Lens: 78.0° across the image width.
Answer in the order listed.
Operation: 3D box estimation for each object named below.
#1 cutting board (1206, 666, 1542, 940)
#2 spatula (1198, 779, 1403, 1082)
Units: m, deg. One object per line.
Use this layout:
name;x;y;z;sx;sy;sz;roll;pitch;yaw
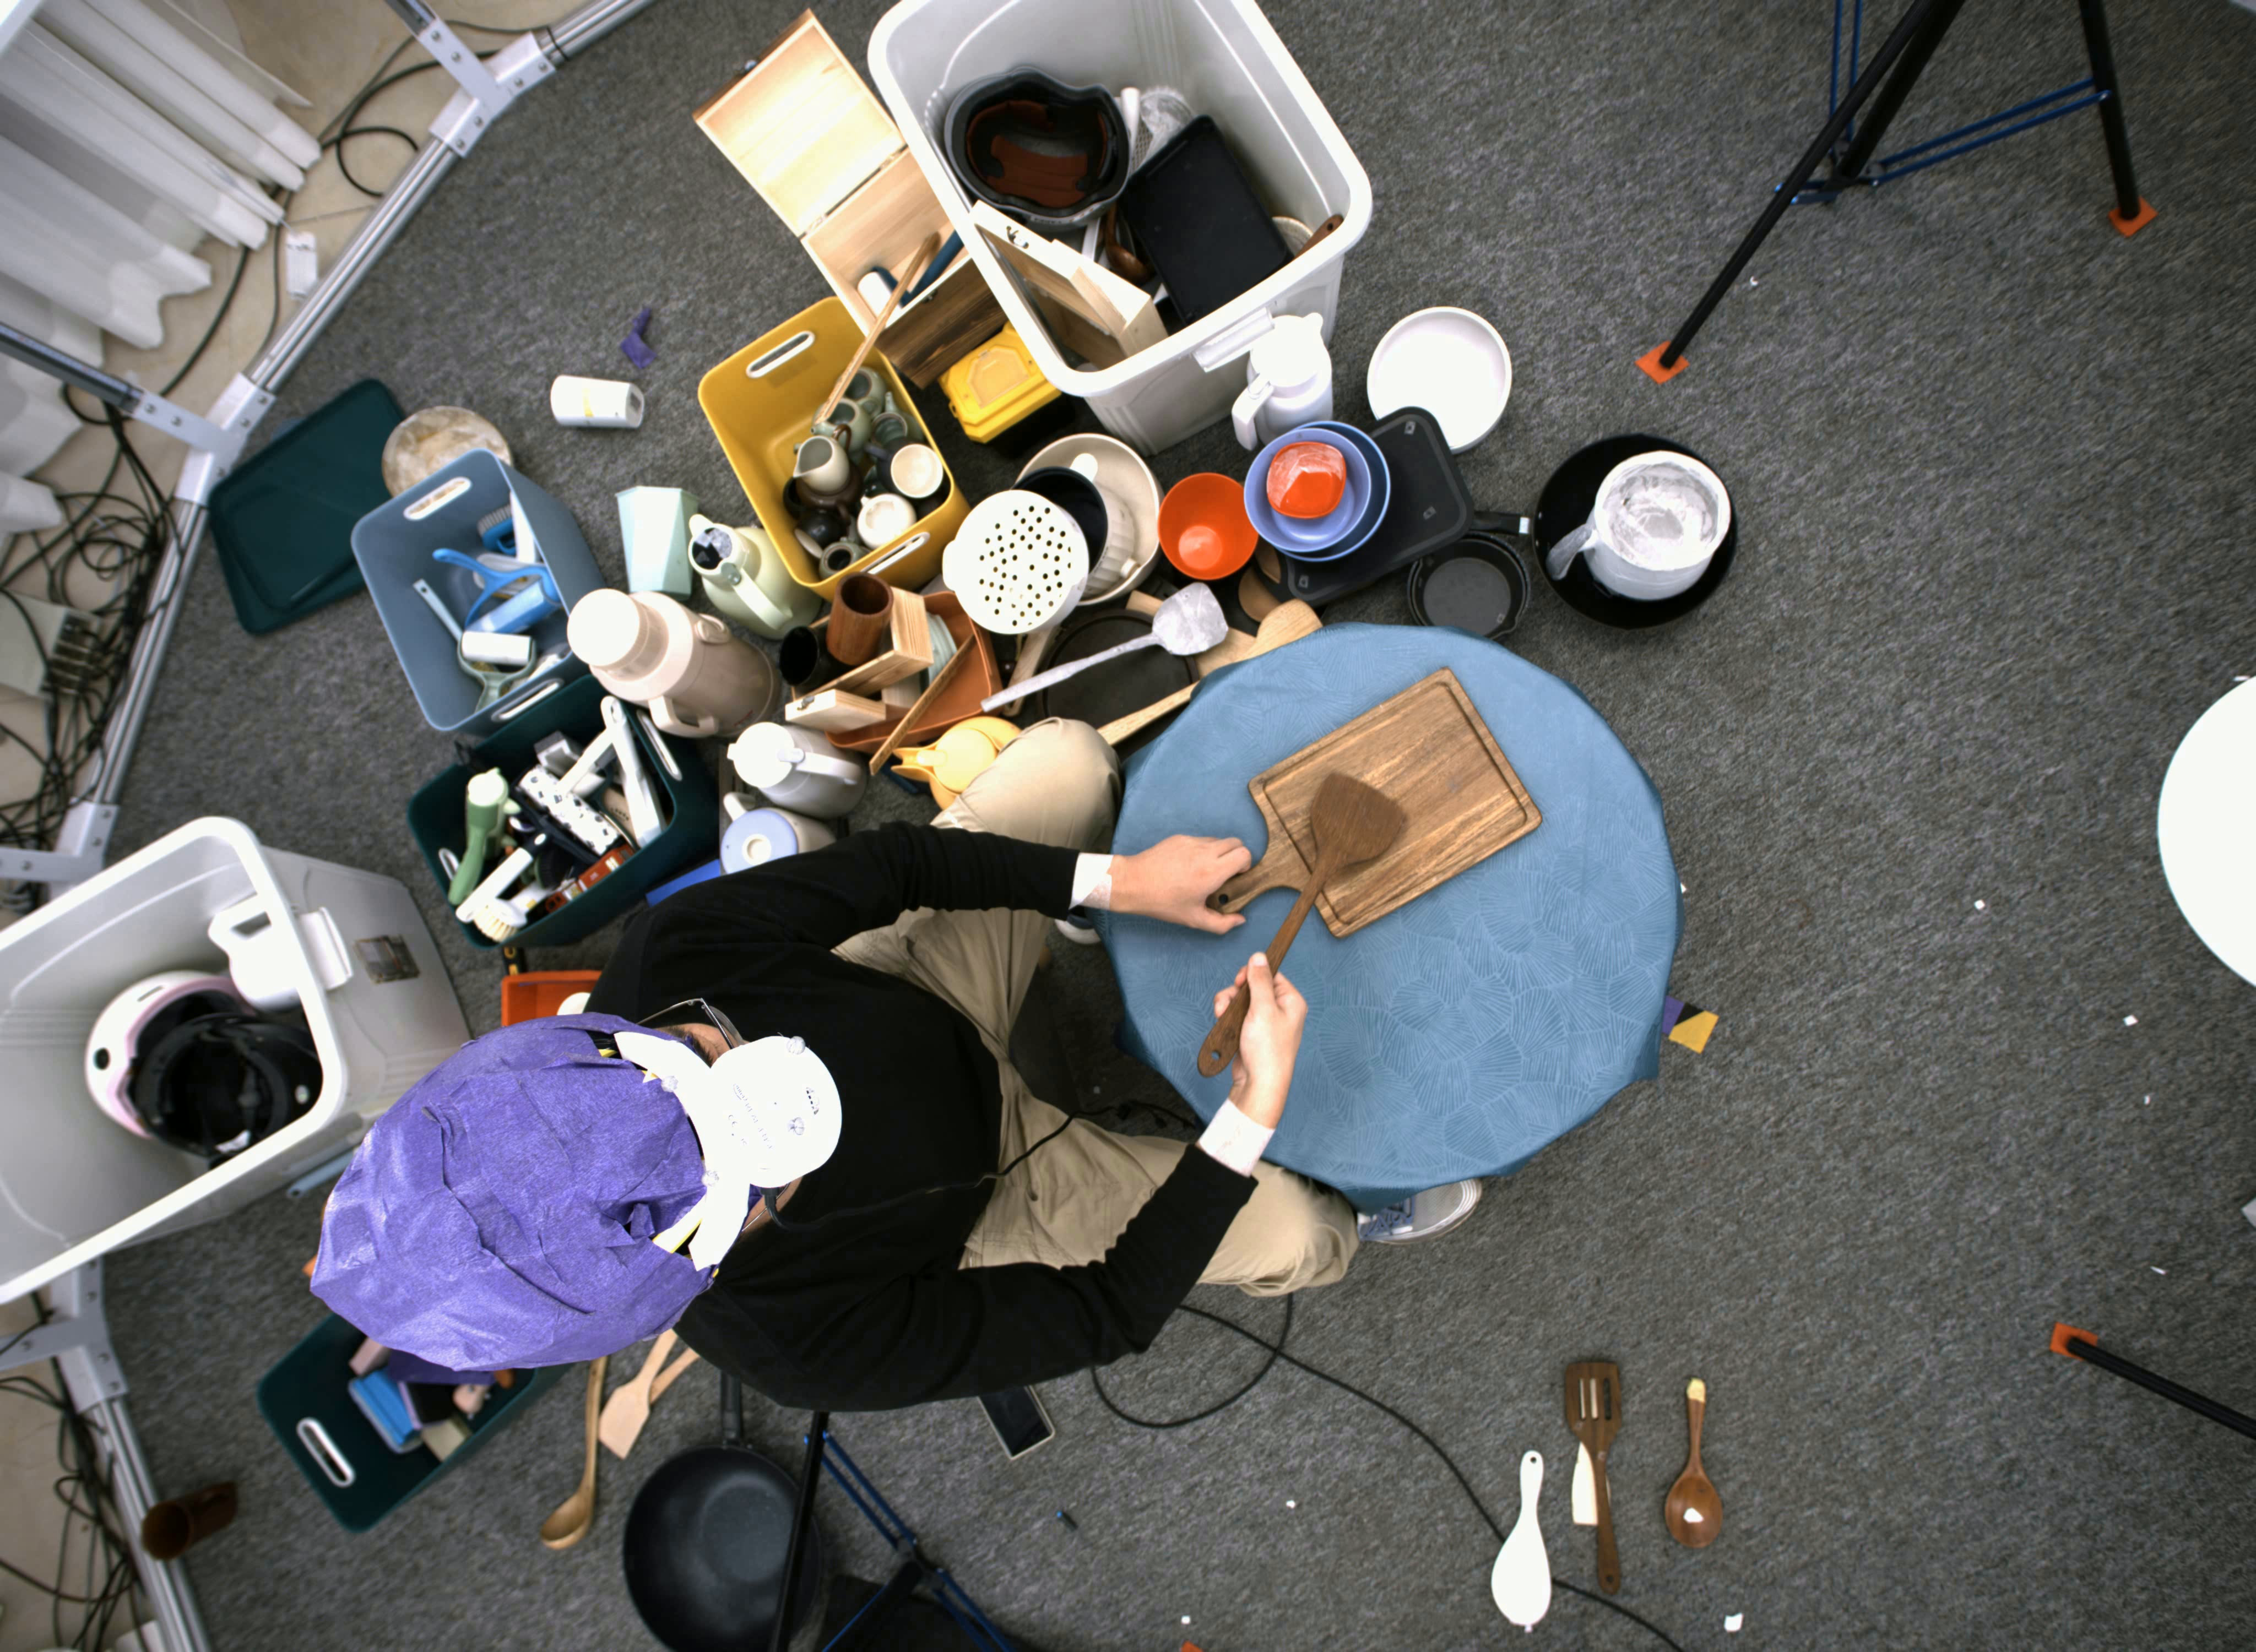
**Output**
cutting board;0.235;-0.001;1.458;0.354;0.023;0.200;-31;81;7
spatula;0.162;0.096;1.357;0.096;0.016;0.377;30;58;7
